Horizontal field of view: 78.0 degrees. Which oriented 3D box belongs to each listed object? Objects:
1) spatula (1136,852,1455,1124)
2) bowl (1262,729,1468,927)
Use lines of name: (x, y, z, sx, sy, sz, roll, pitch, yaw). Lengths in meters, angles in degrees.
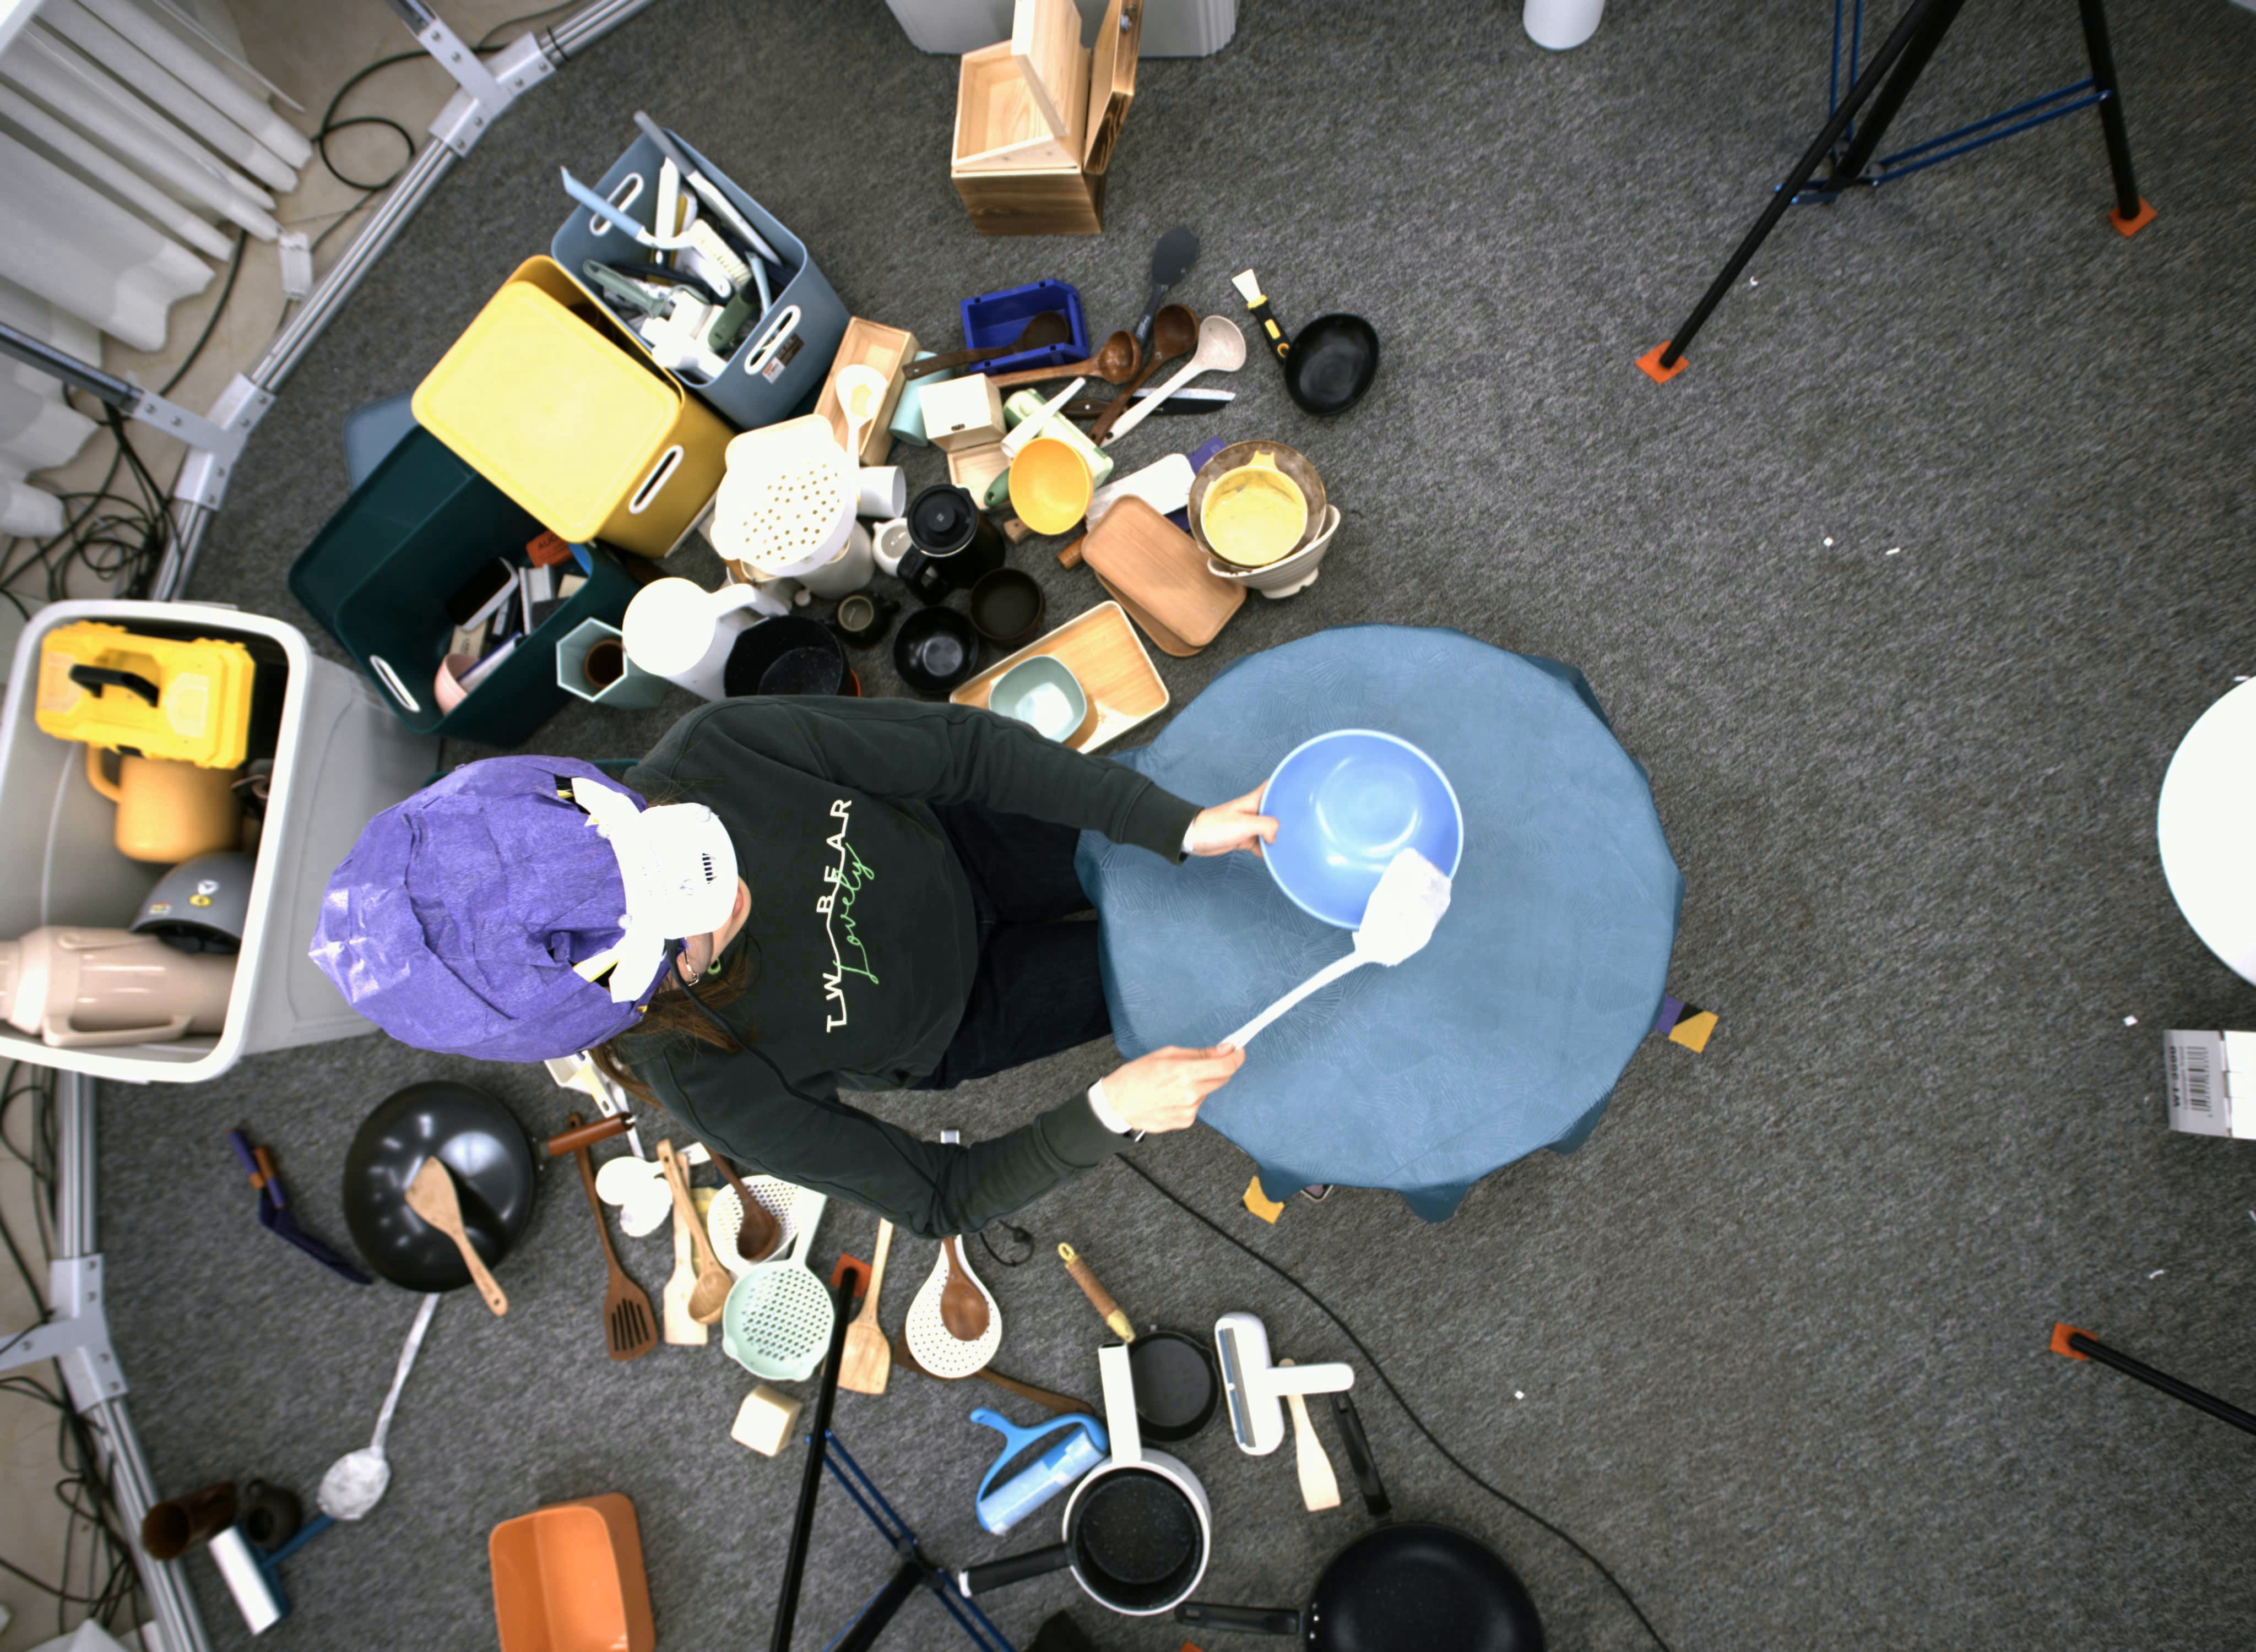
spatula: (0.146, 0.158, 1.269, 0.366, 0.097, 0.045, -37, 125, 4)
bowl: (0.238, -0.009, 1.348, 0.197, 0.093, 0.199, 7, 110, 19)
